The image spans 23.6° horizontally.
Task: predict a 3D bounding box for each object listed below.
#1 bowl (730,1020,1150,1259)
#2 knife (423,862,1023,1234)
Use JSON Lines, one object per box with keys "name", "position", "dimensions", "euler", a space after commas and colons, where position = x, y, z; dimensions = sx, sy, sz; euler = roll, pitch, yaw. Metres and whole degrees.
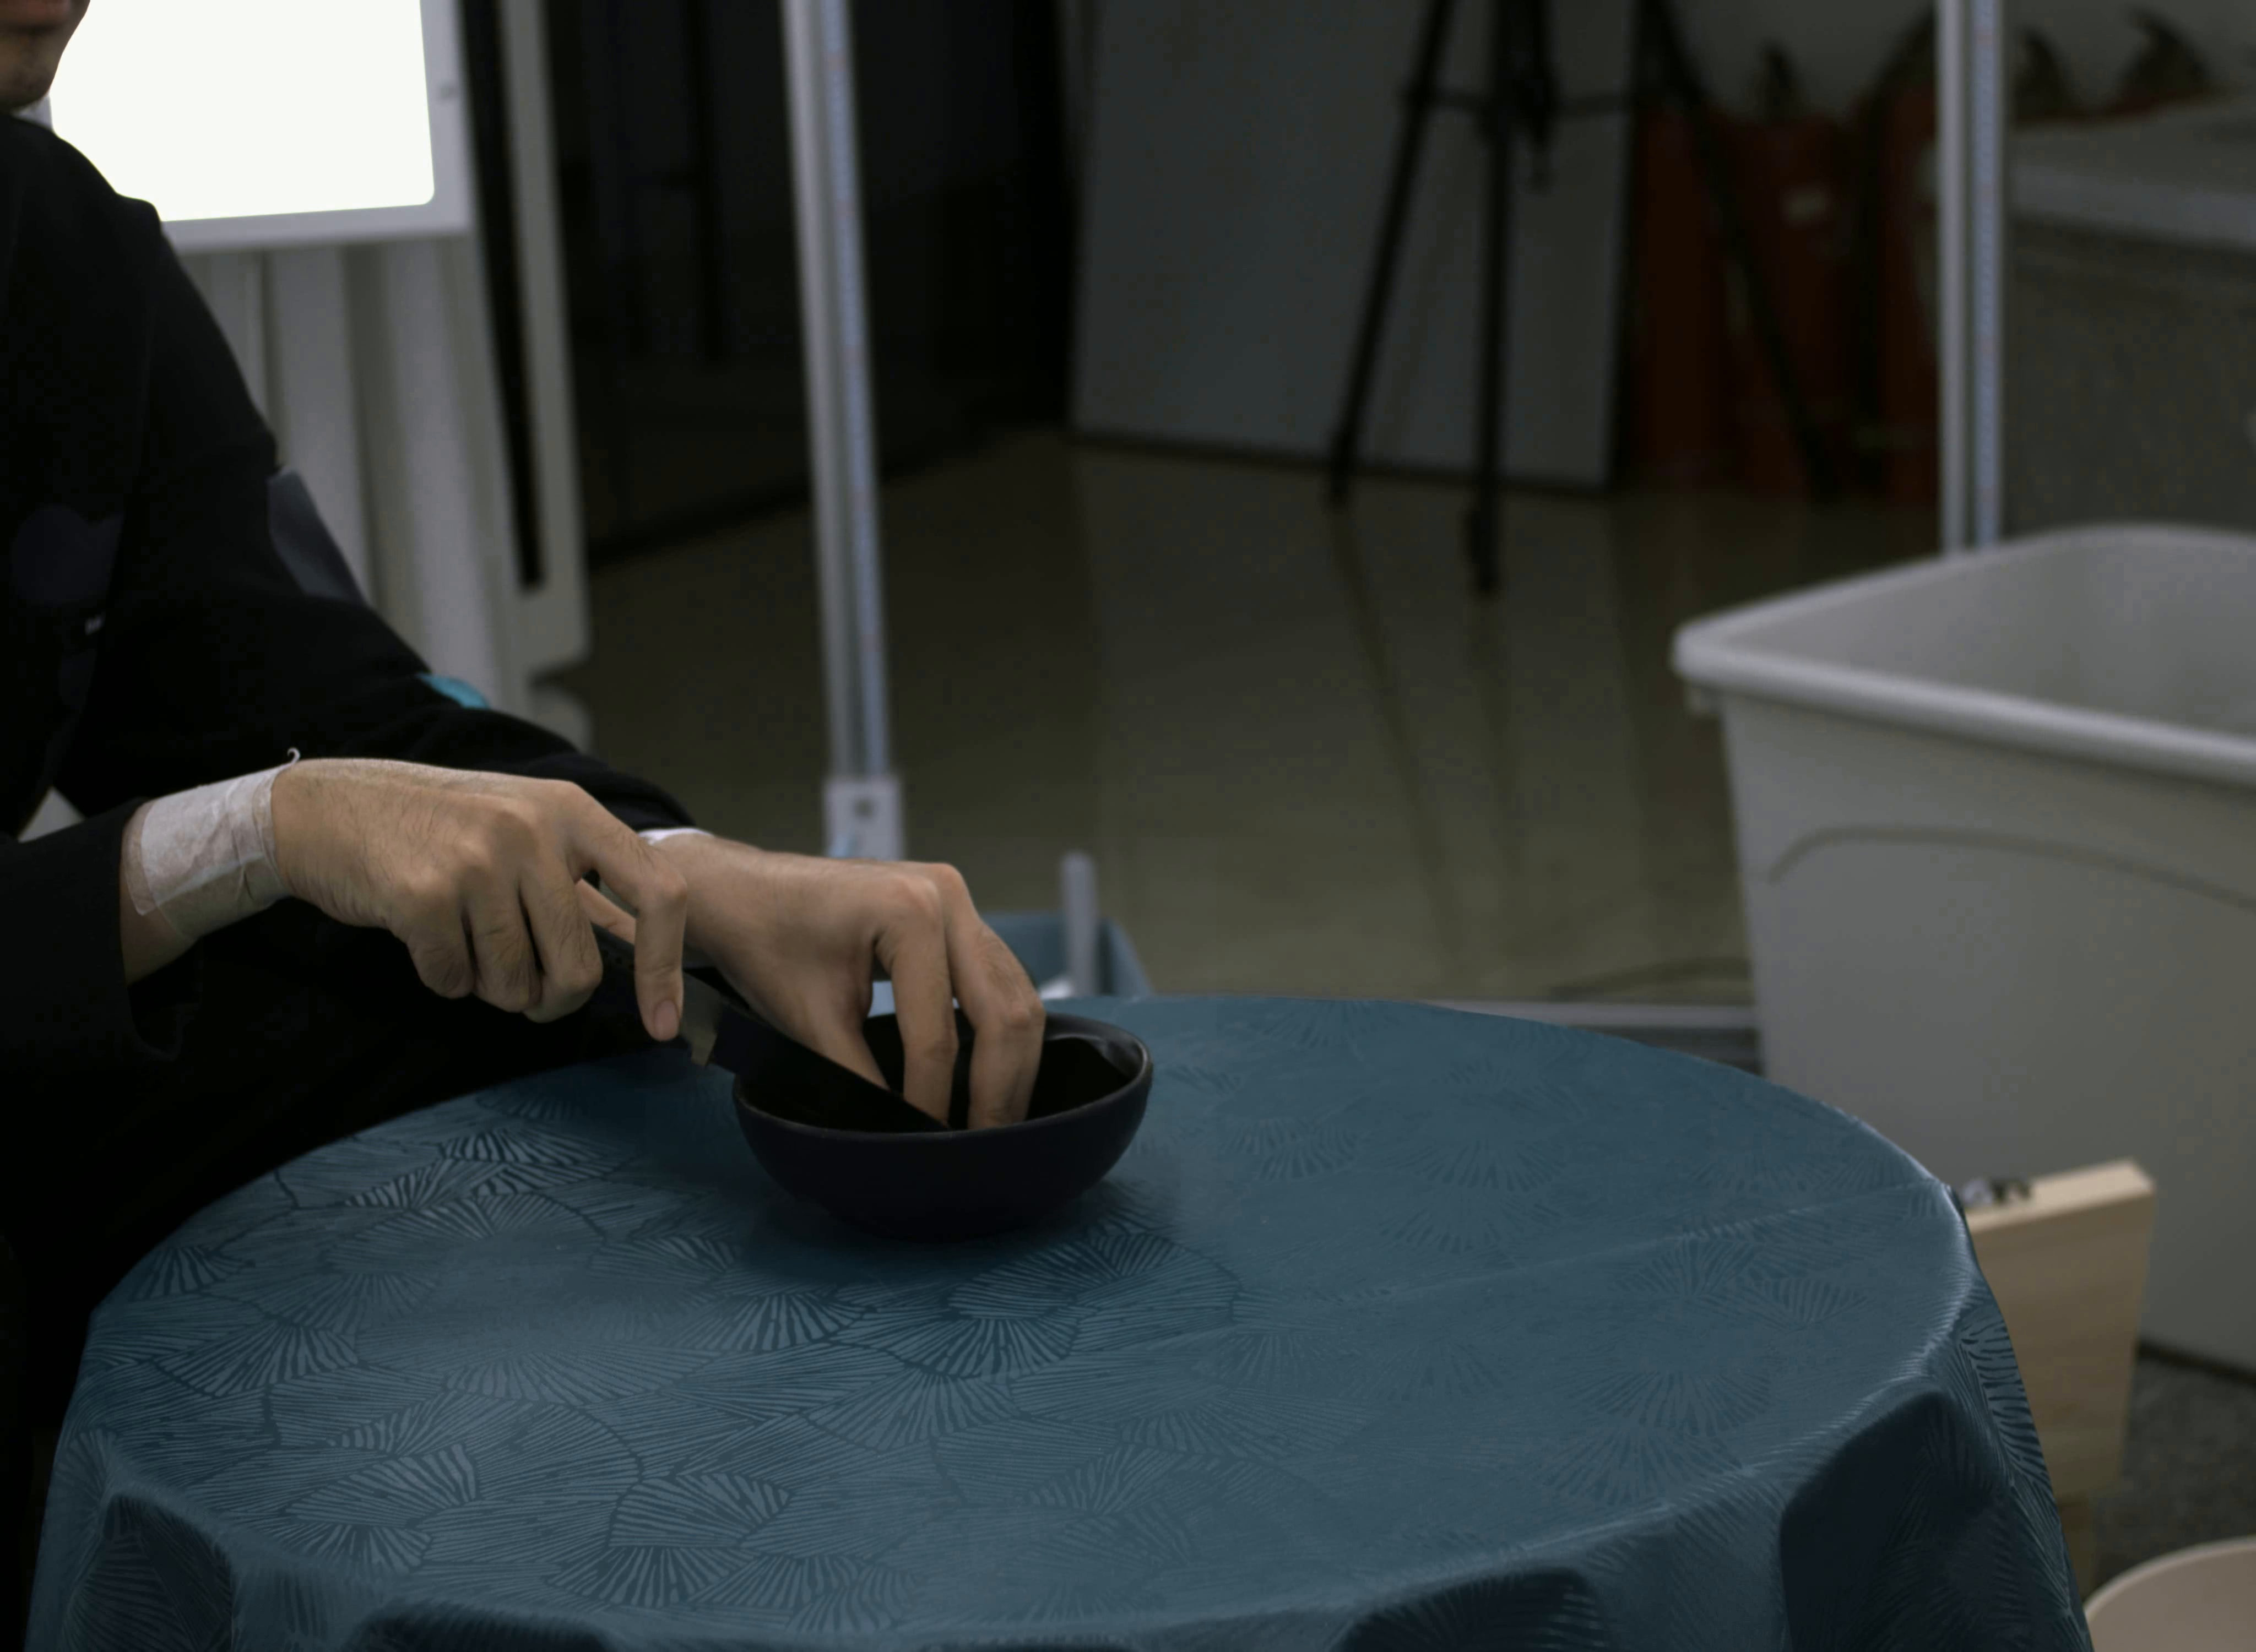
{"name": "bowl", "position": [-0.058, 0.106, 1.758], "dimensions": [0.138, 0.050, 0.140], "euler": [-8, 13, 1]}
{"name": "knife", "position": [-0.129, 0.072, 1.742], "dimensions": [0.224, 0.026, 0.017], "euler": [29, 26, 2]}
